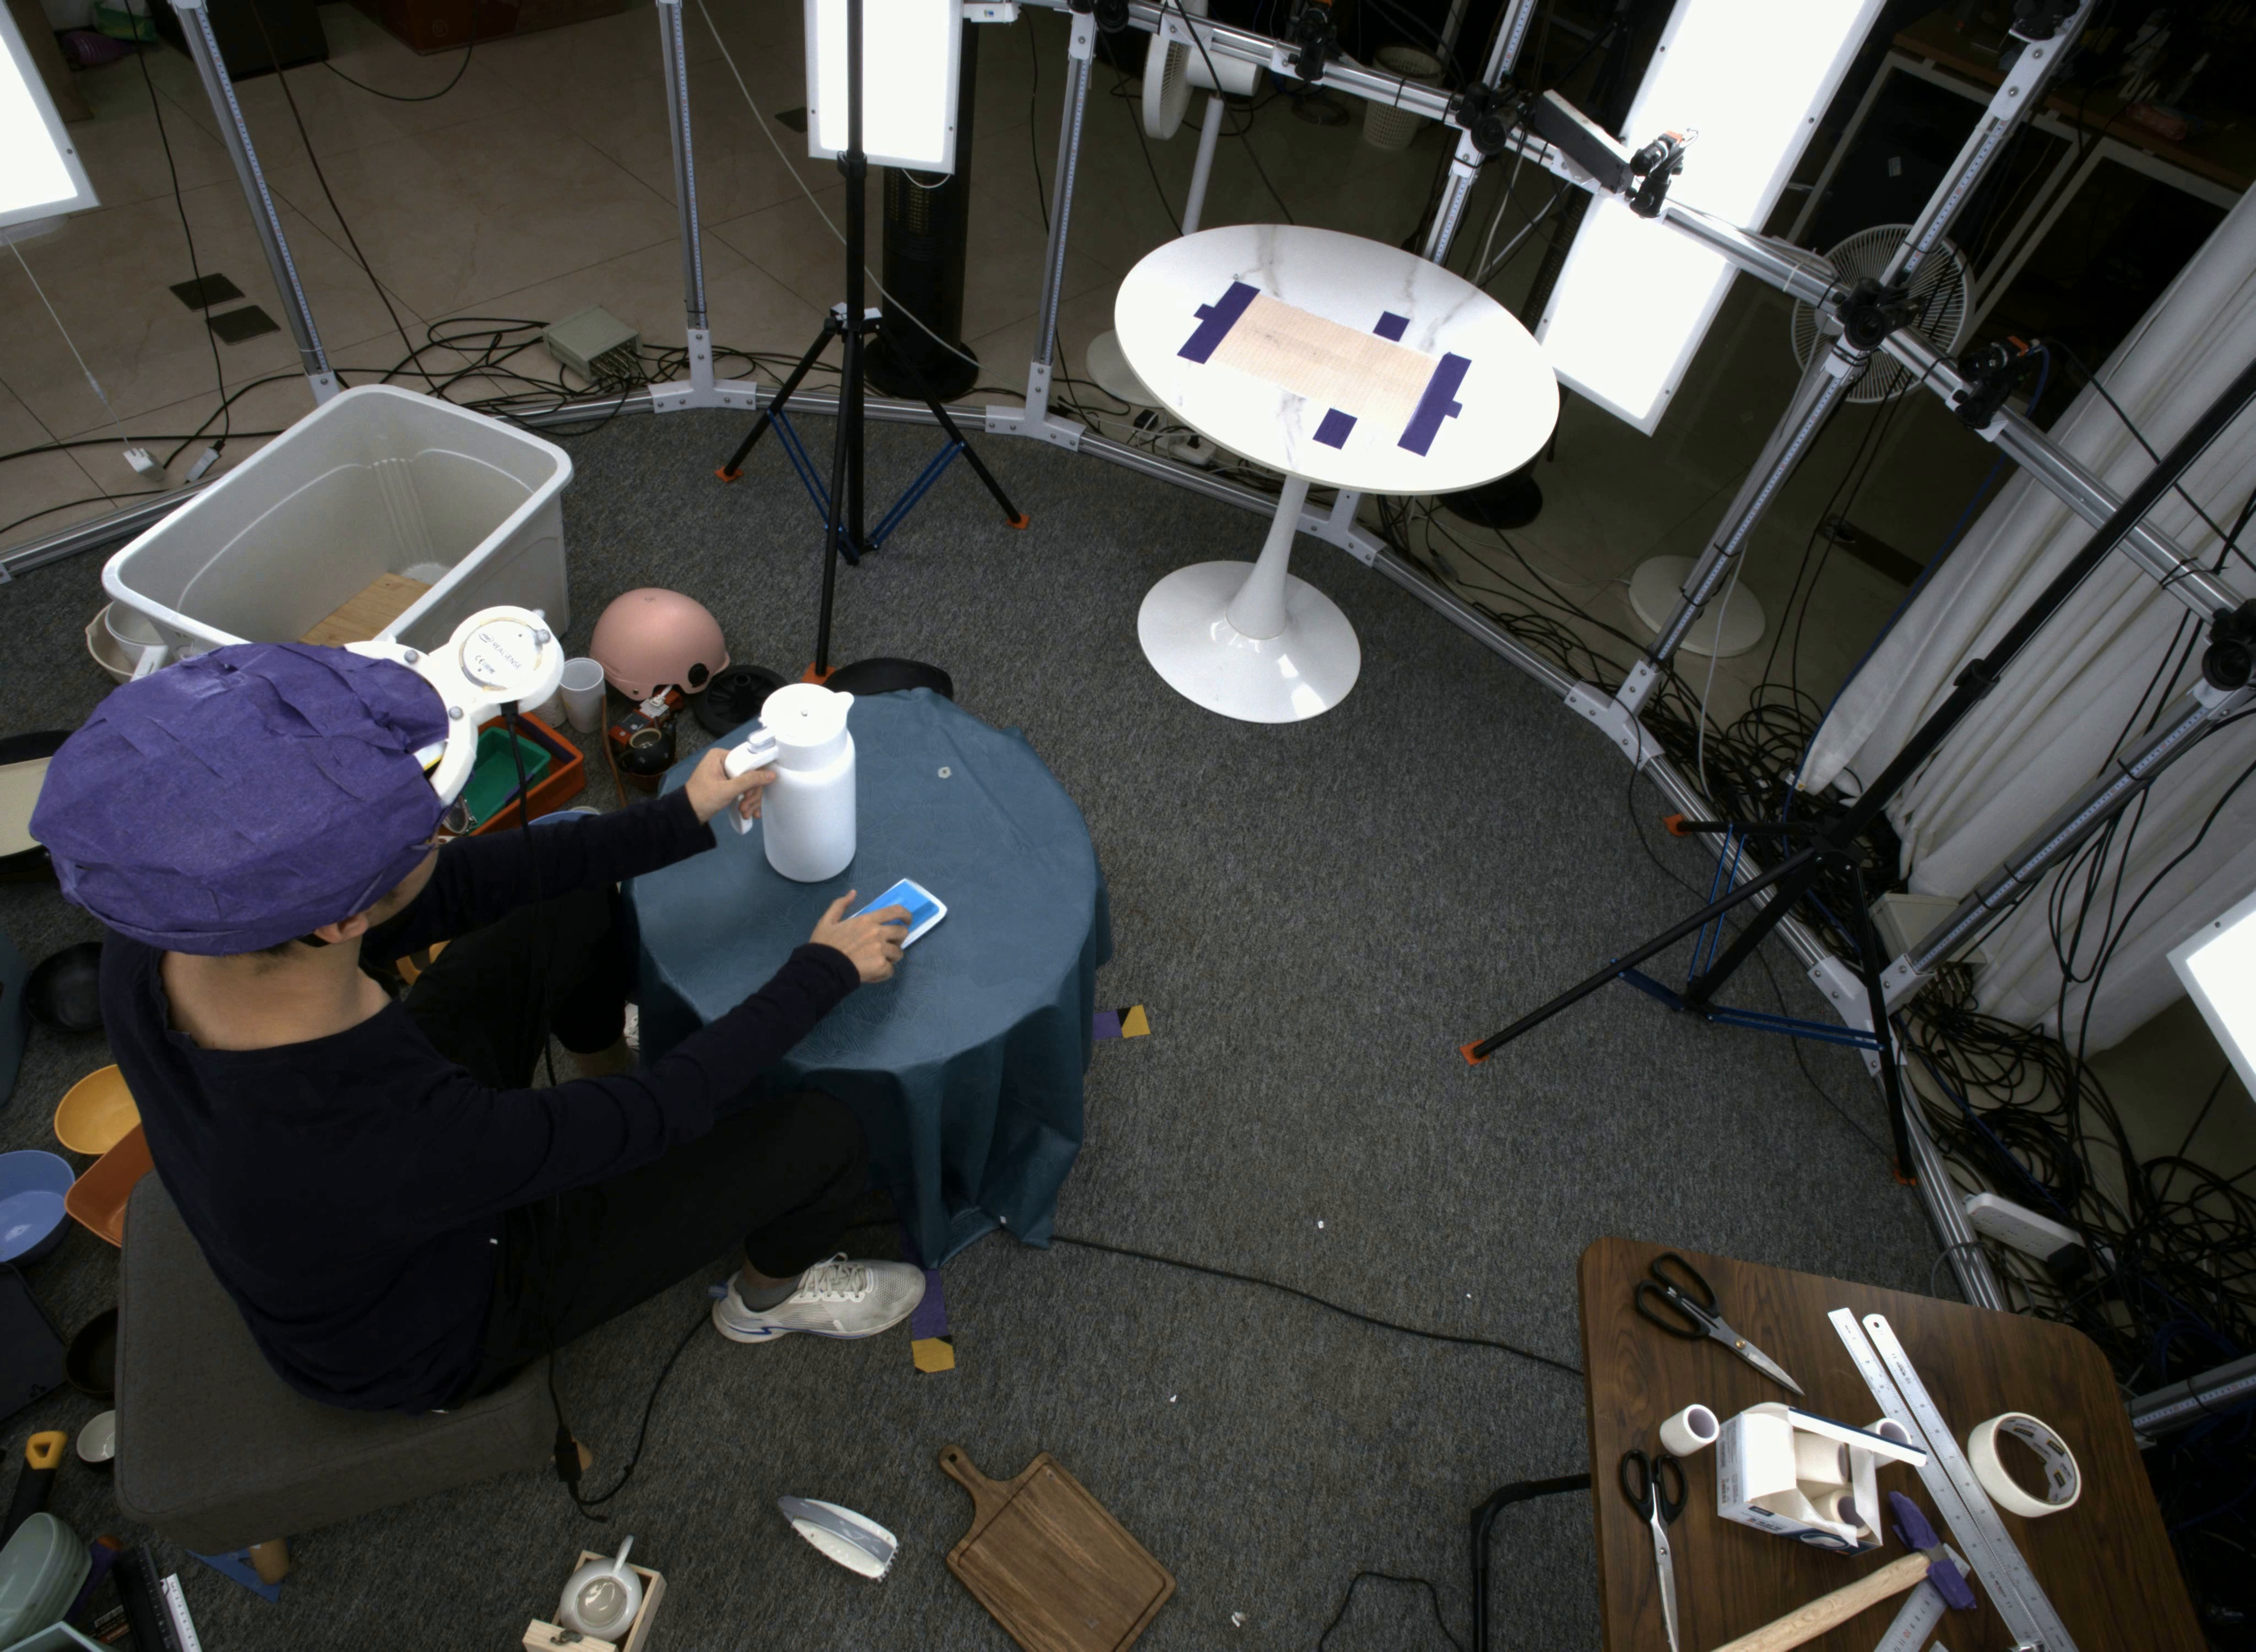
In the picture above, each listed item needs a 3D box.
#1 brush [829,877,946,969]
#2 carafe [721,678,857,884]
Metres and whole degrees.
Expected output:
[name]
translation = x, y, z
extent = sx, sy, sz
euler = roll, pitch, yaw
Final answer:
[brush]
translation = -0.301, 0.112, 1.631
extent = 0.082, 0.057, 0.144
euler = 39, 50, 21
[carafe]
translation = -0.409, -0.043, 1.590
extent = 0.121, 0.274, 0.173
euler = 42, 57, 19
